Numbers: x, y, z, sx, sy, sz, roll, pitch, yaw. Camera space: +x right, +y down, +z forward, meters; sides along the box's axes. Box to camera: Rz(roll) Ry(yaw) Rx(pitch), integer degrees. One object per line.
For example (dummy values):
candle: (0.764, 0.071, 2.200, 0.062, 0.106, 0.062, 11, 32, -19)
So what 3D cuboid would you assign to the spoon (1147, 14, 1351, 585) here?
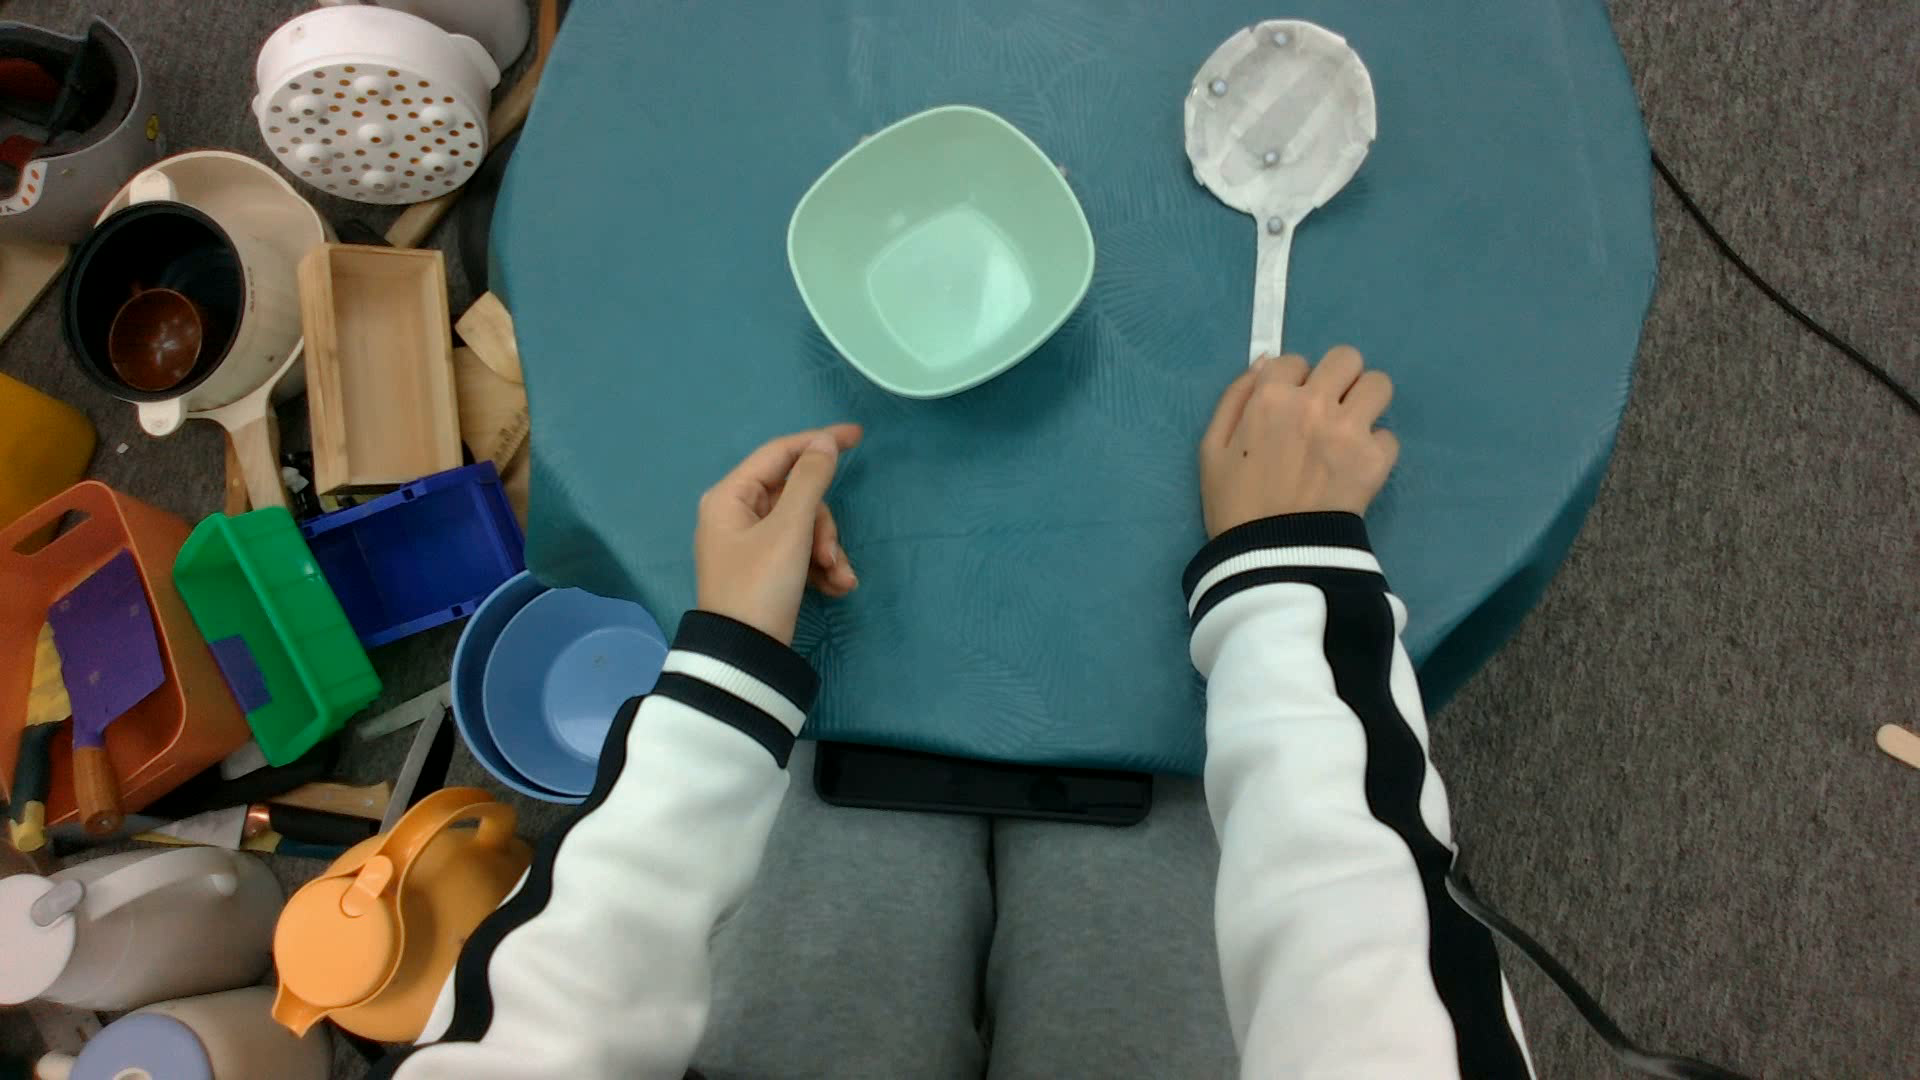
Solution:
spoon: (0.130, -0.119, 0.677, 0.100, 0.059, 0.278, 5, 78, 23)

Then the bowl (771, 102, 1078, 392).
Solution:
bowl: (-0.016, -0.139, 0.694, 0.151, 0.058, 0.152, -1, 77, 5)
